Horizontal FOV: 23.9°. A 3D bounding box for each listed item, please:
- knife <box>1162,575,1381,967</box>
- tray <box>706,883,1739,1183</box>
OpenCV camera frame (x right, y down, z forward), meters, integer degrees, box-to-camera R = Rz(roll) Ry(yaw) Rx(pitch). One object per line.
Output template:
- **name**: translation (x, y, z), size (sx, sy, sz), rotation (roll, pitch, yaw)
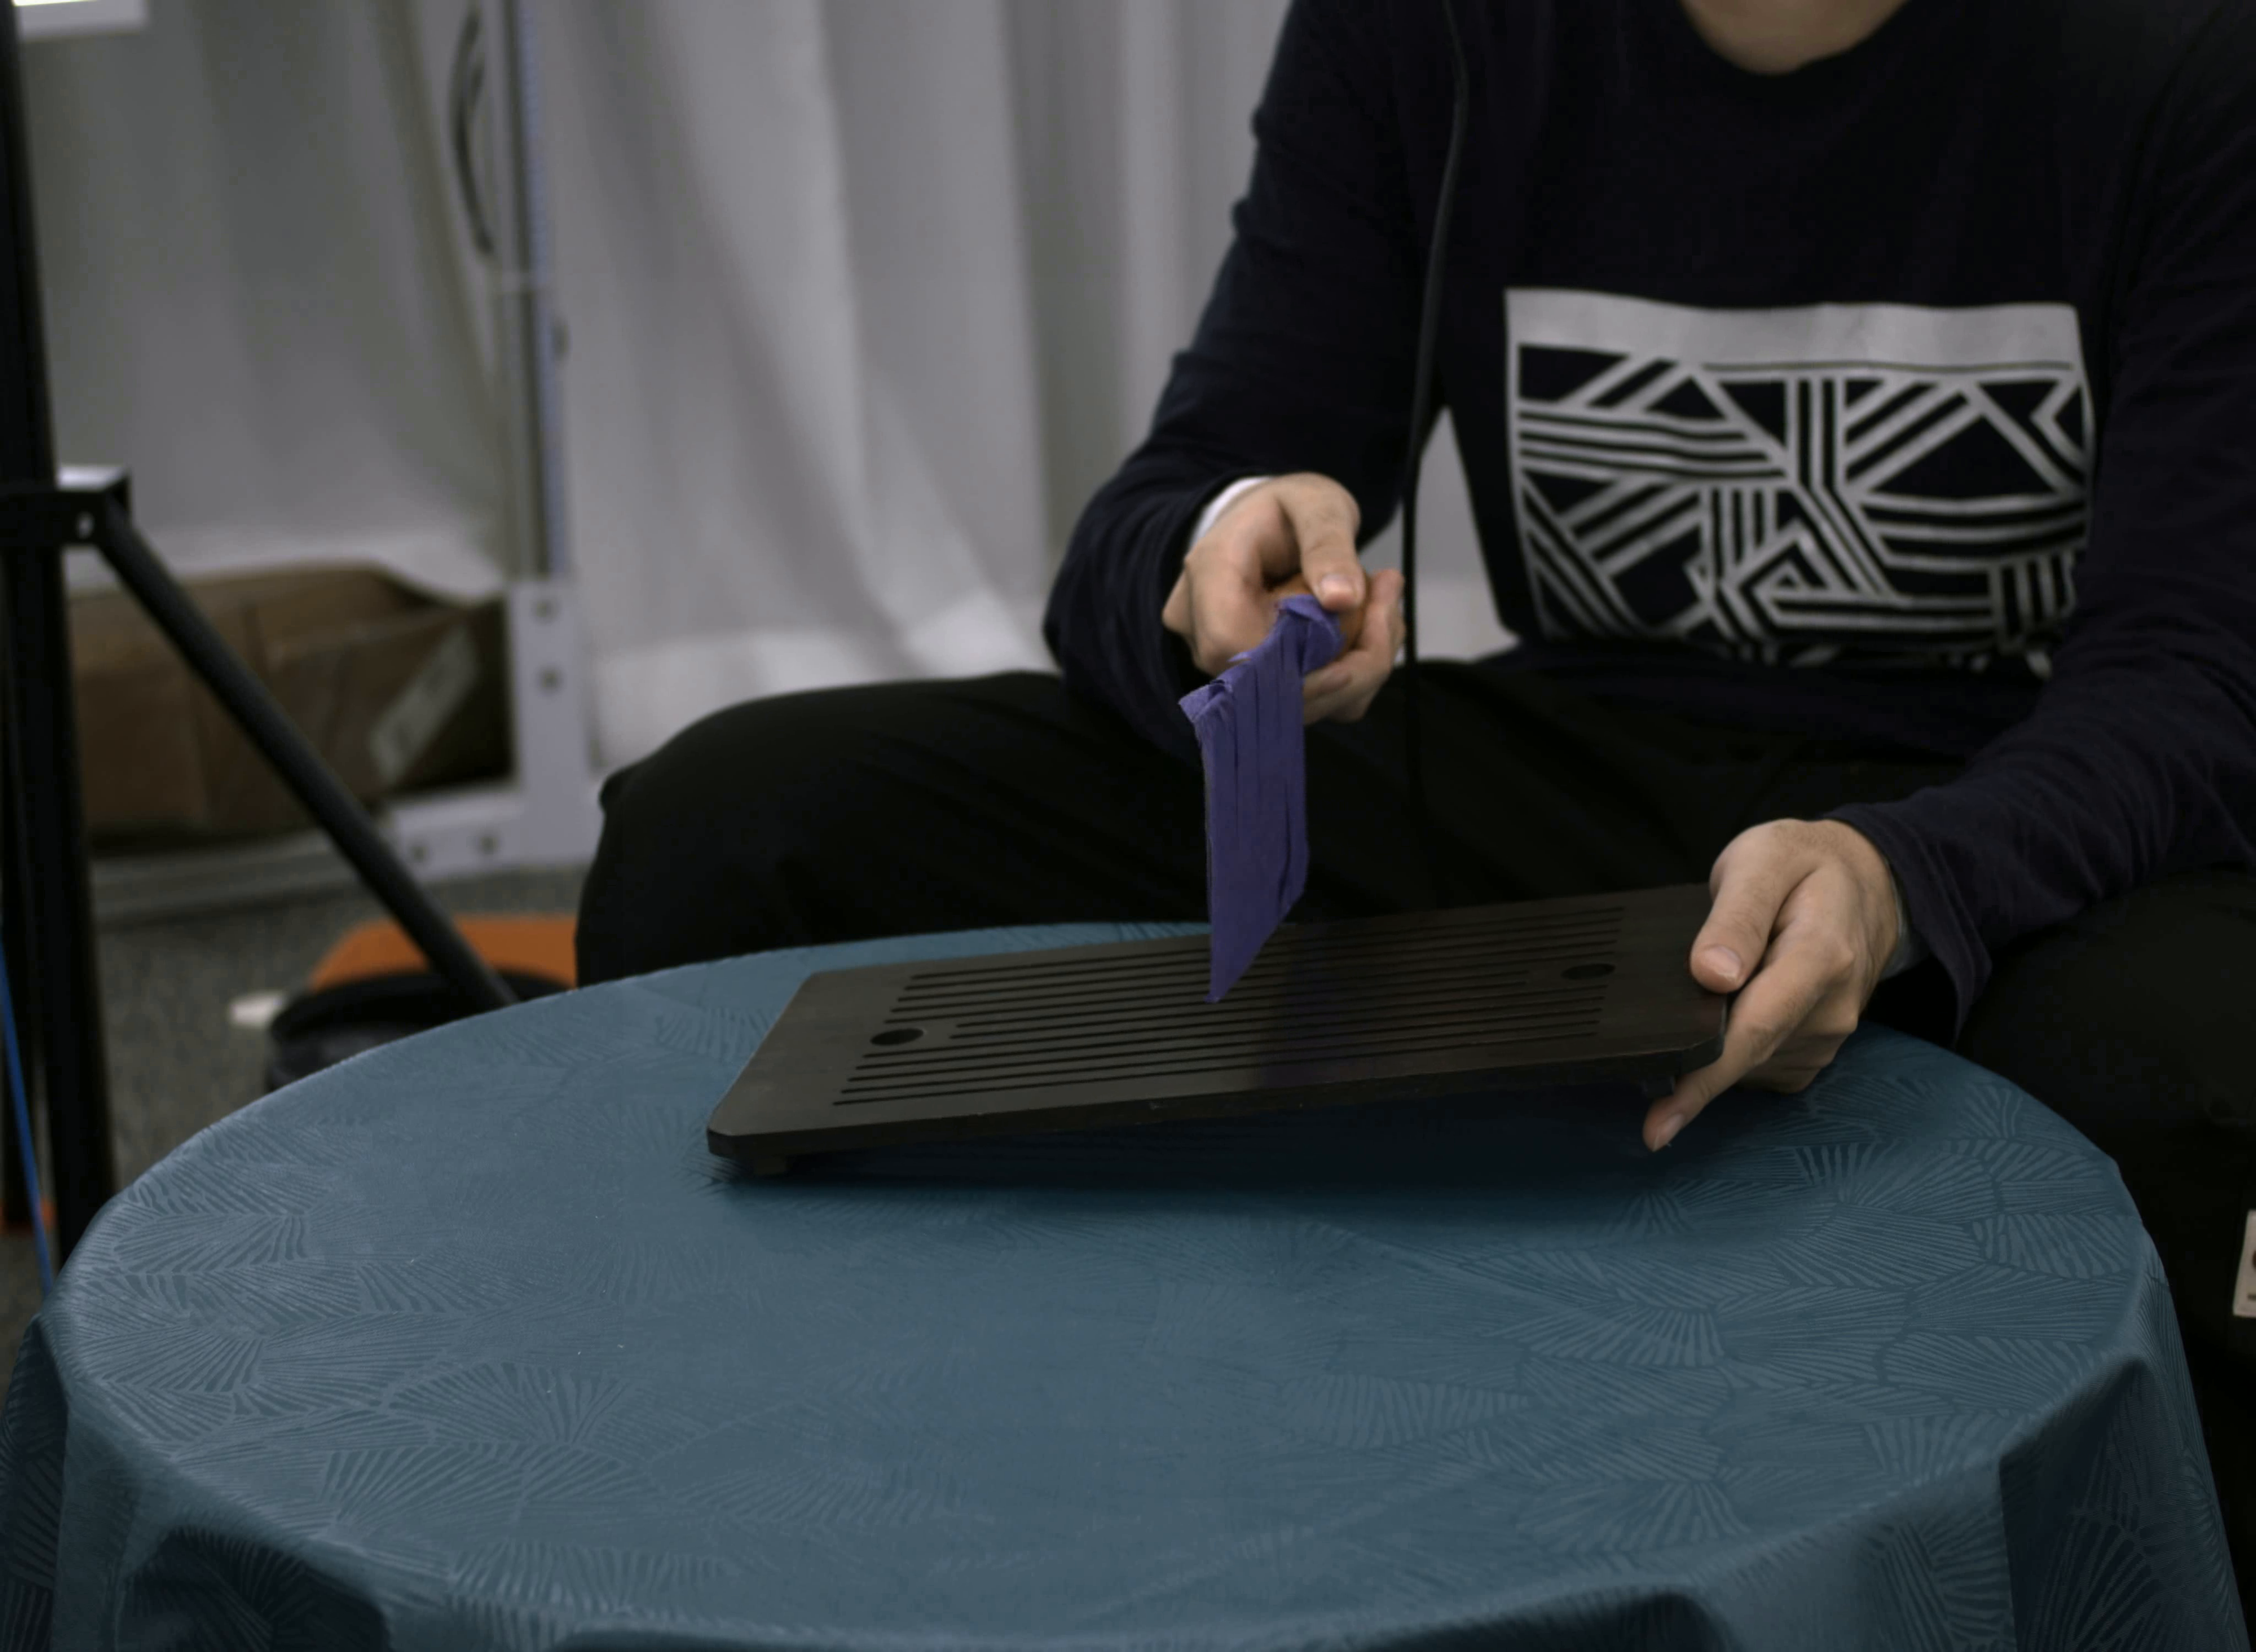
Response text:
- **knife**: translation (0.044, -0.019, 1.678), size (0.032, 0.104, 0.312), rotation (0, 9, 12)
- **tray**: translation (0.033, 0.064, 1.624), size (0.307, 0.018, 0.169), rotation (-6, 15, 12)
